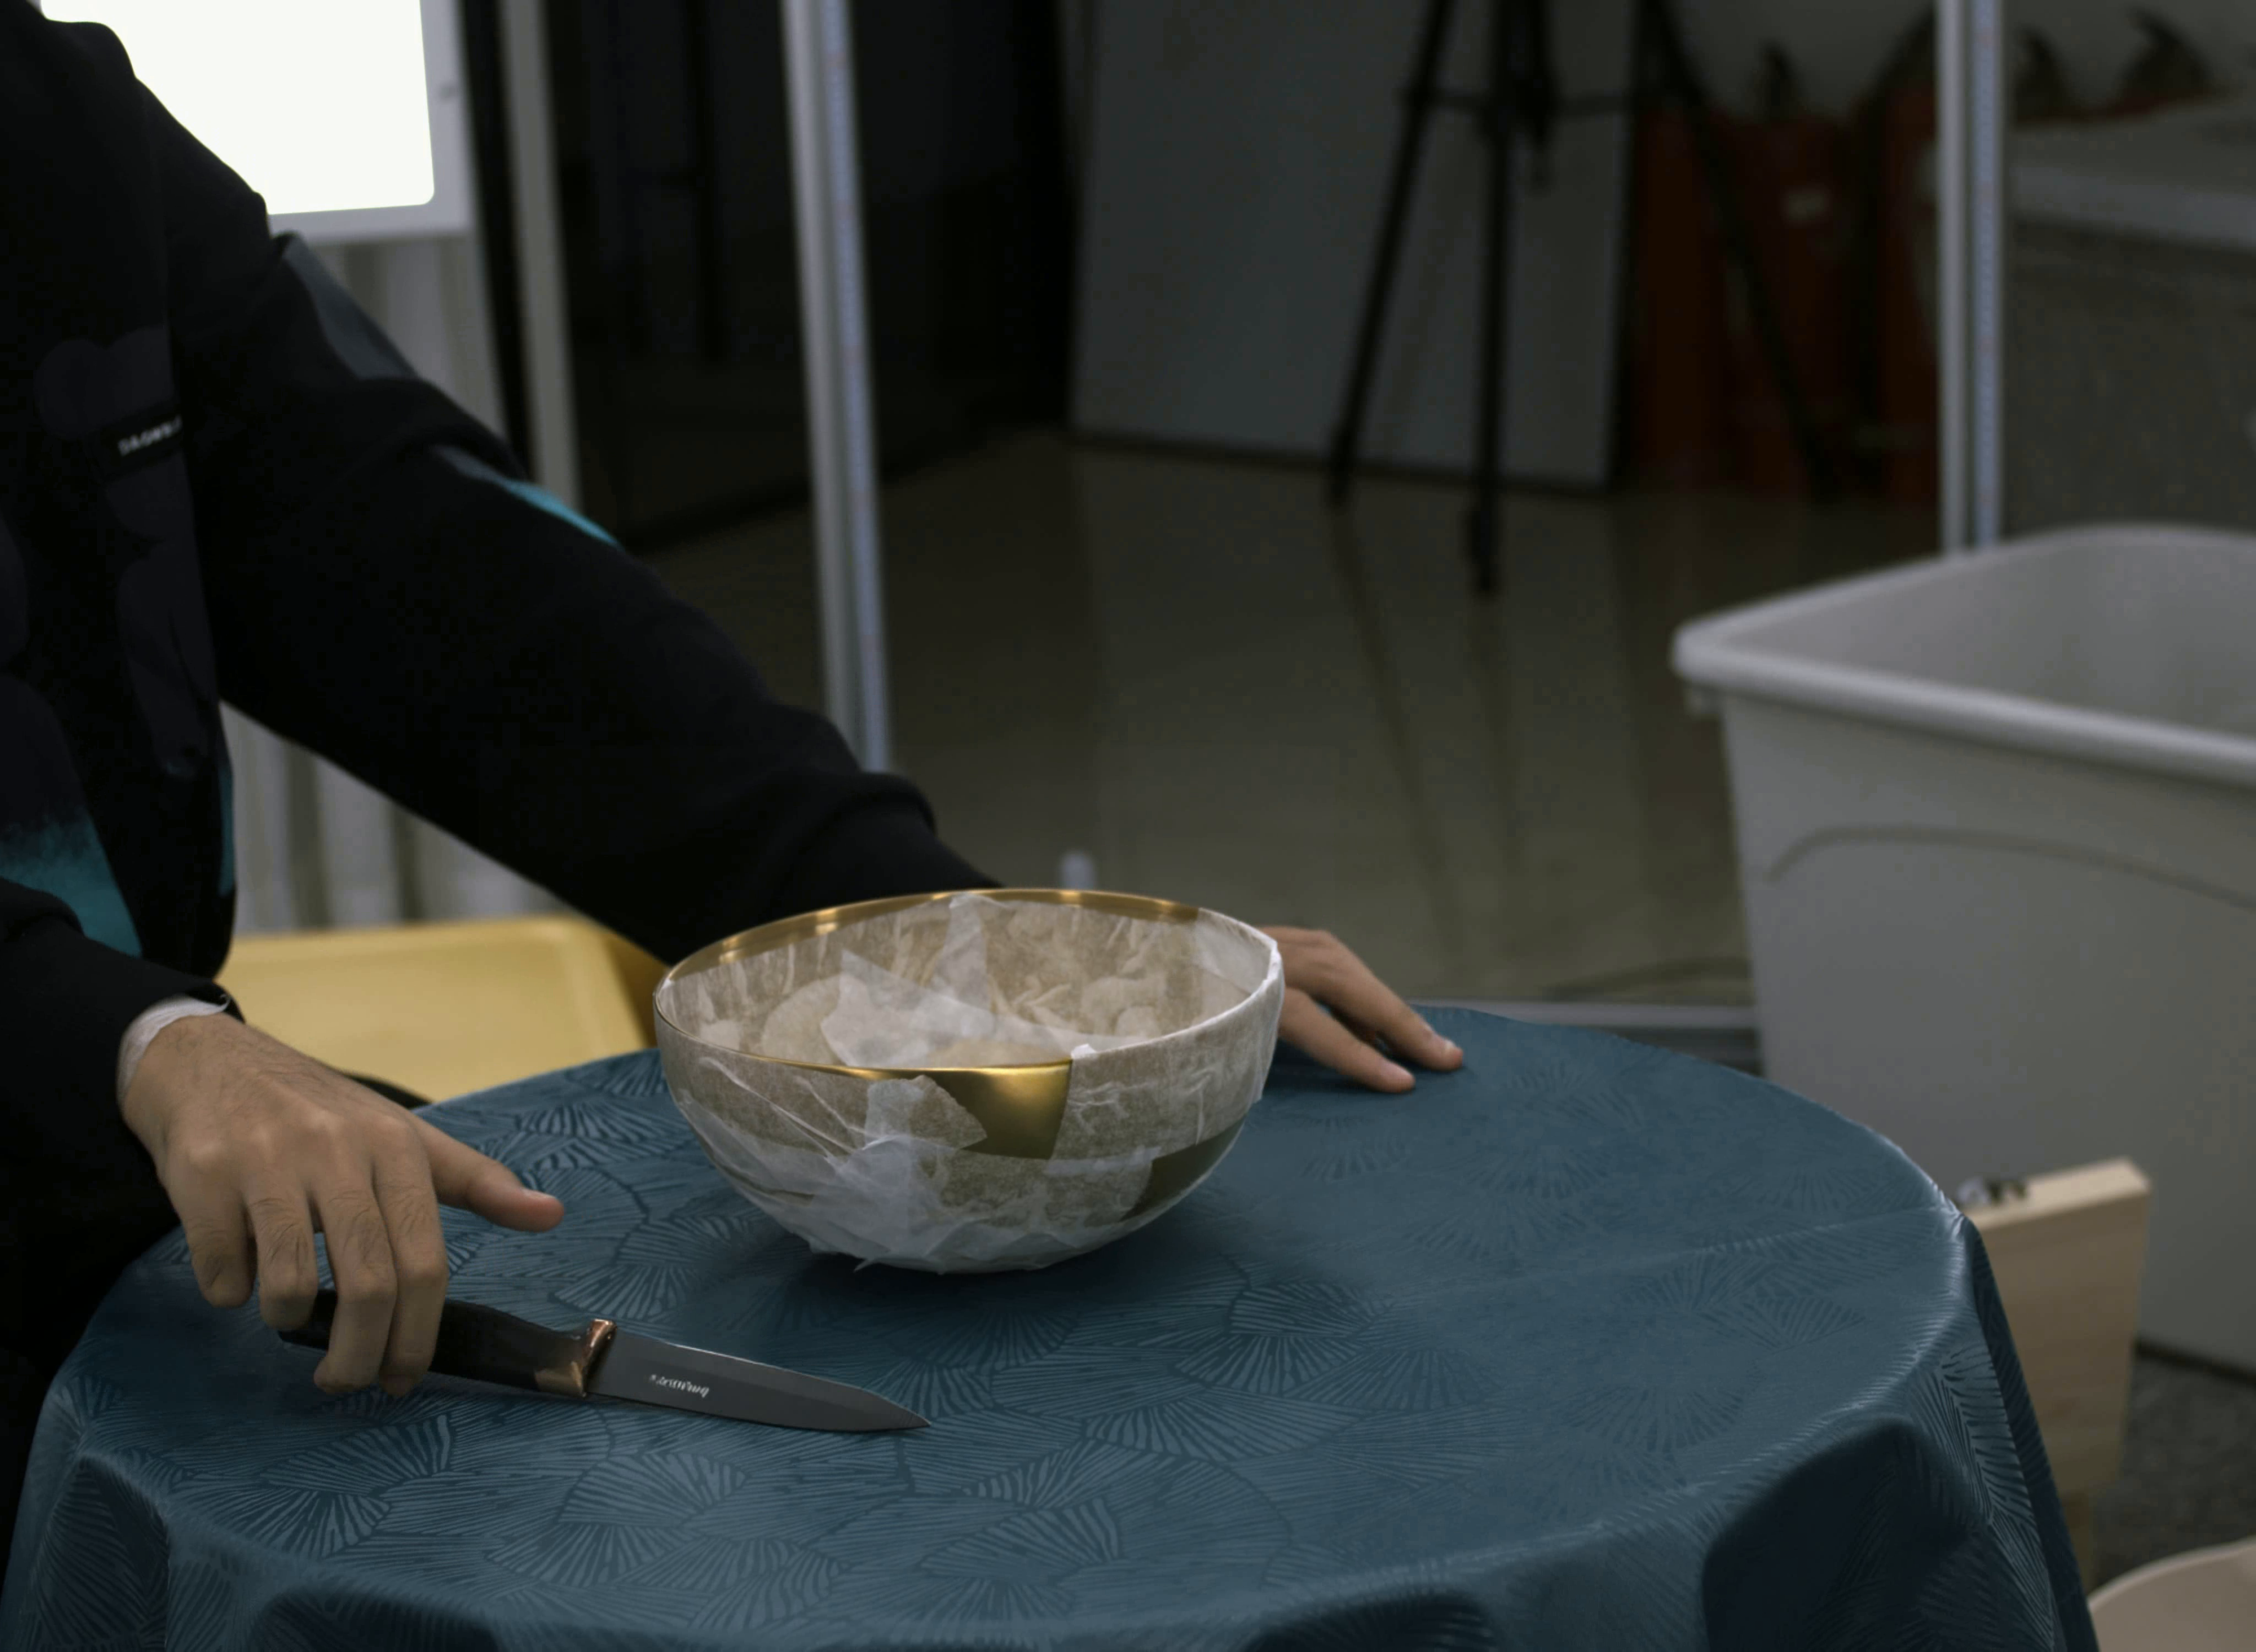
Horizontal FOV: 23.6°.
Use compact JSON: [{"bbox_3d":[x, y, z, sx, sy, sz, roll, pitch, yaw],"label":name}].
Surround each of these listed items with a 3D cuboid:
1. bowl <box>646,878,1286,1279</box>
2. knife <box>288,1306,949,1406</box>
[{"bbox_3d":[-0.050,0.088,1.721,0.212,0.095,0.215,-5,15,0],"label":"bowl"},{"bbox_3d":[-0.154,0.160,1.611,0.226,0.017,0.026,3,54,27],"label":"knife"}]
